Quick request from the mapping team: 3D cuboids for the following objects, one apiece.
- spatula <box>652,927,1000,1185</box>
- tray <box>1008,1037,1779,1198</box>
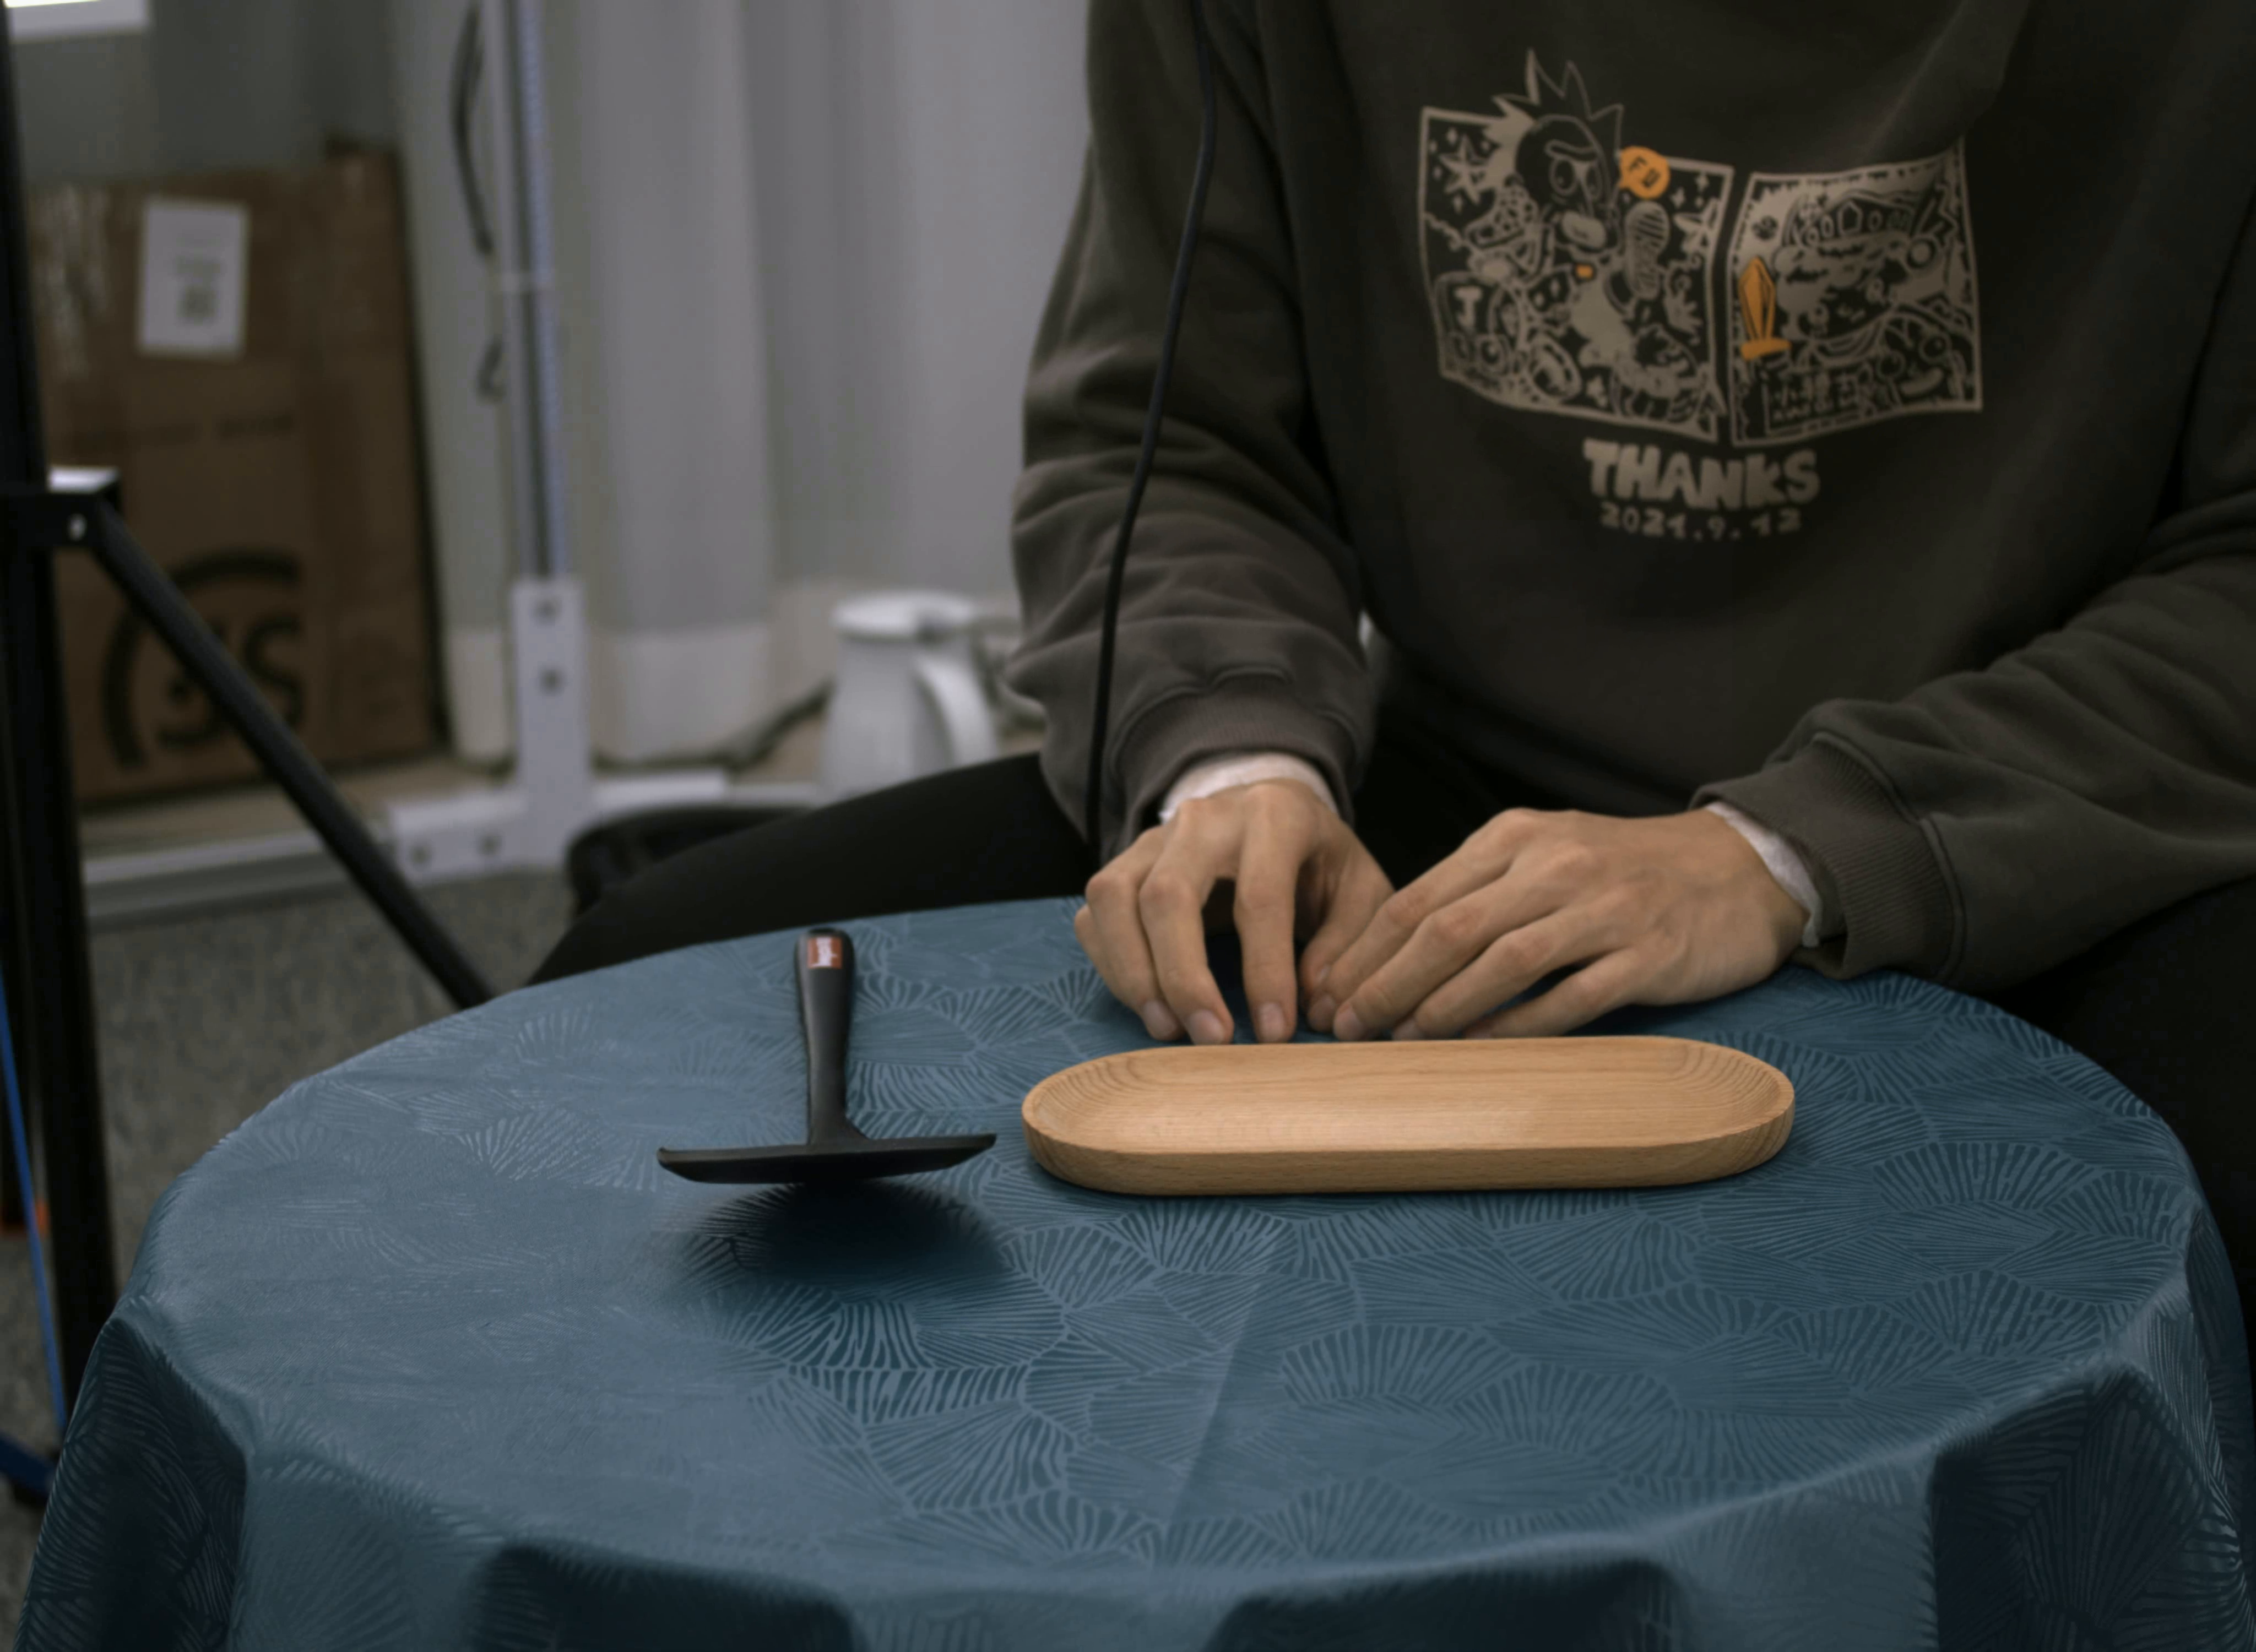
[{"bbox_3d":[-0.095,0.067,1.656,0.099,0.040,0.328,-2,16,-3],"label":"spatula"},{"bbox_3d":[0.080,0.088,1.590,0.231,0.020,0.102,-2,15,6],"label":"tray"}]
